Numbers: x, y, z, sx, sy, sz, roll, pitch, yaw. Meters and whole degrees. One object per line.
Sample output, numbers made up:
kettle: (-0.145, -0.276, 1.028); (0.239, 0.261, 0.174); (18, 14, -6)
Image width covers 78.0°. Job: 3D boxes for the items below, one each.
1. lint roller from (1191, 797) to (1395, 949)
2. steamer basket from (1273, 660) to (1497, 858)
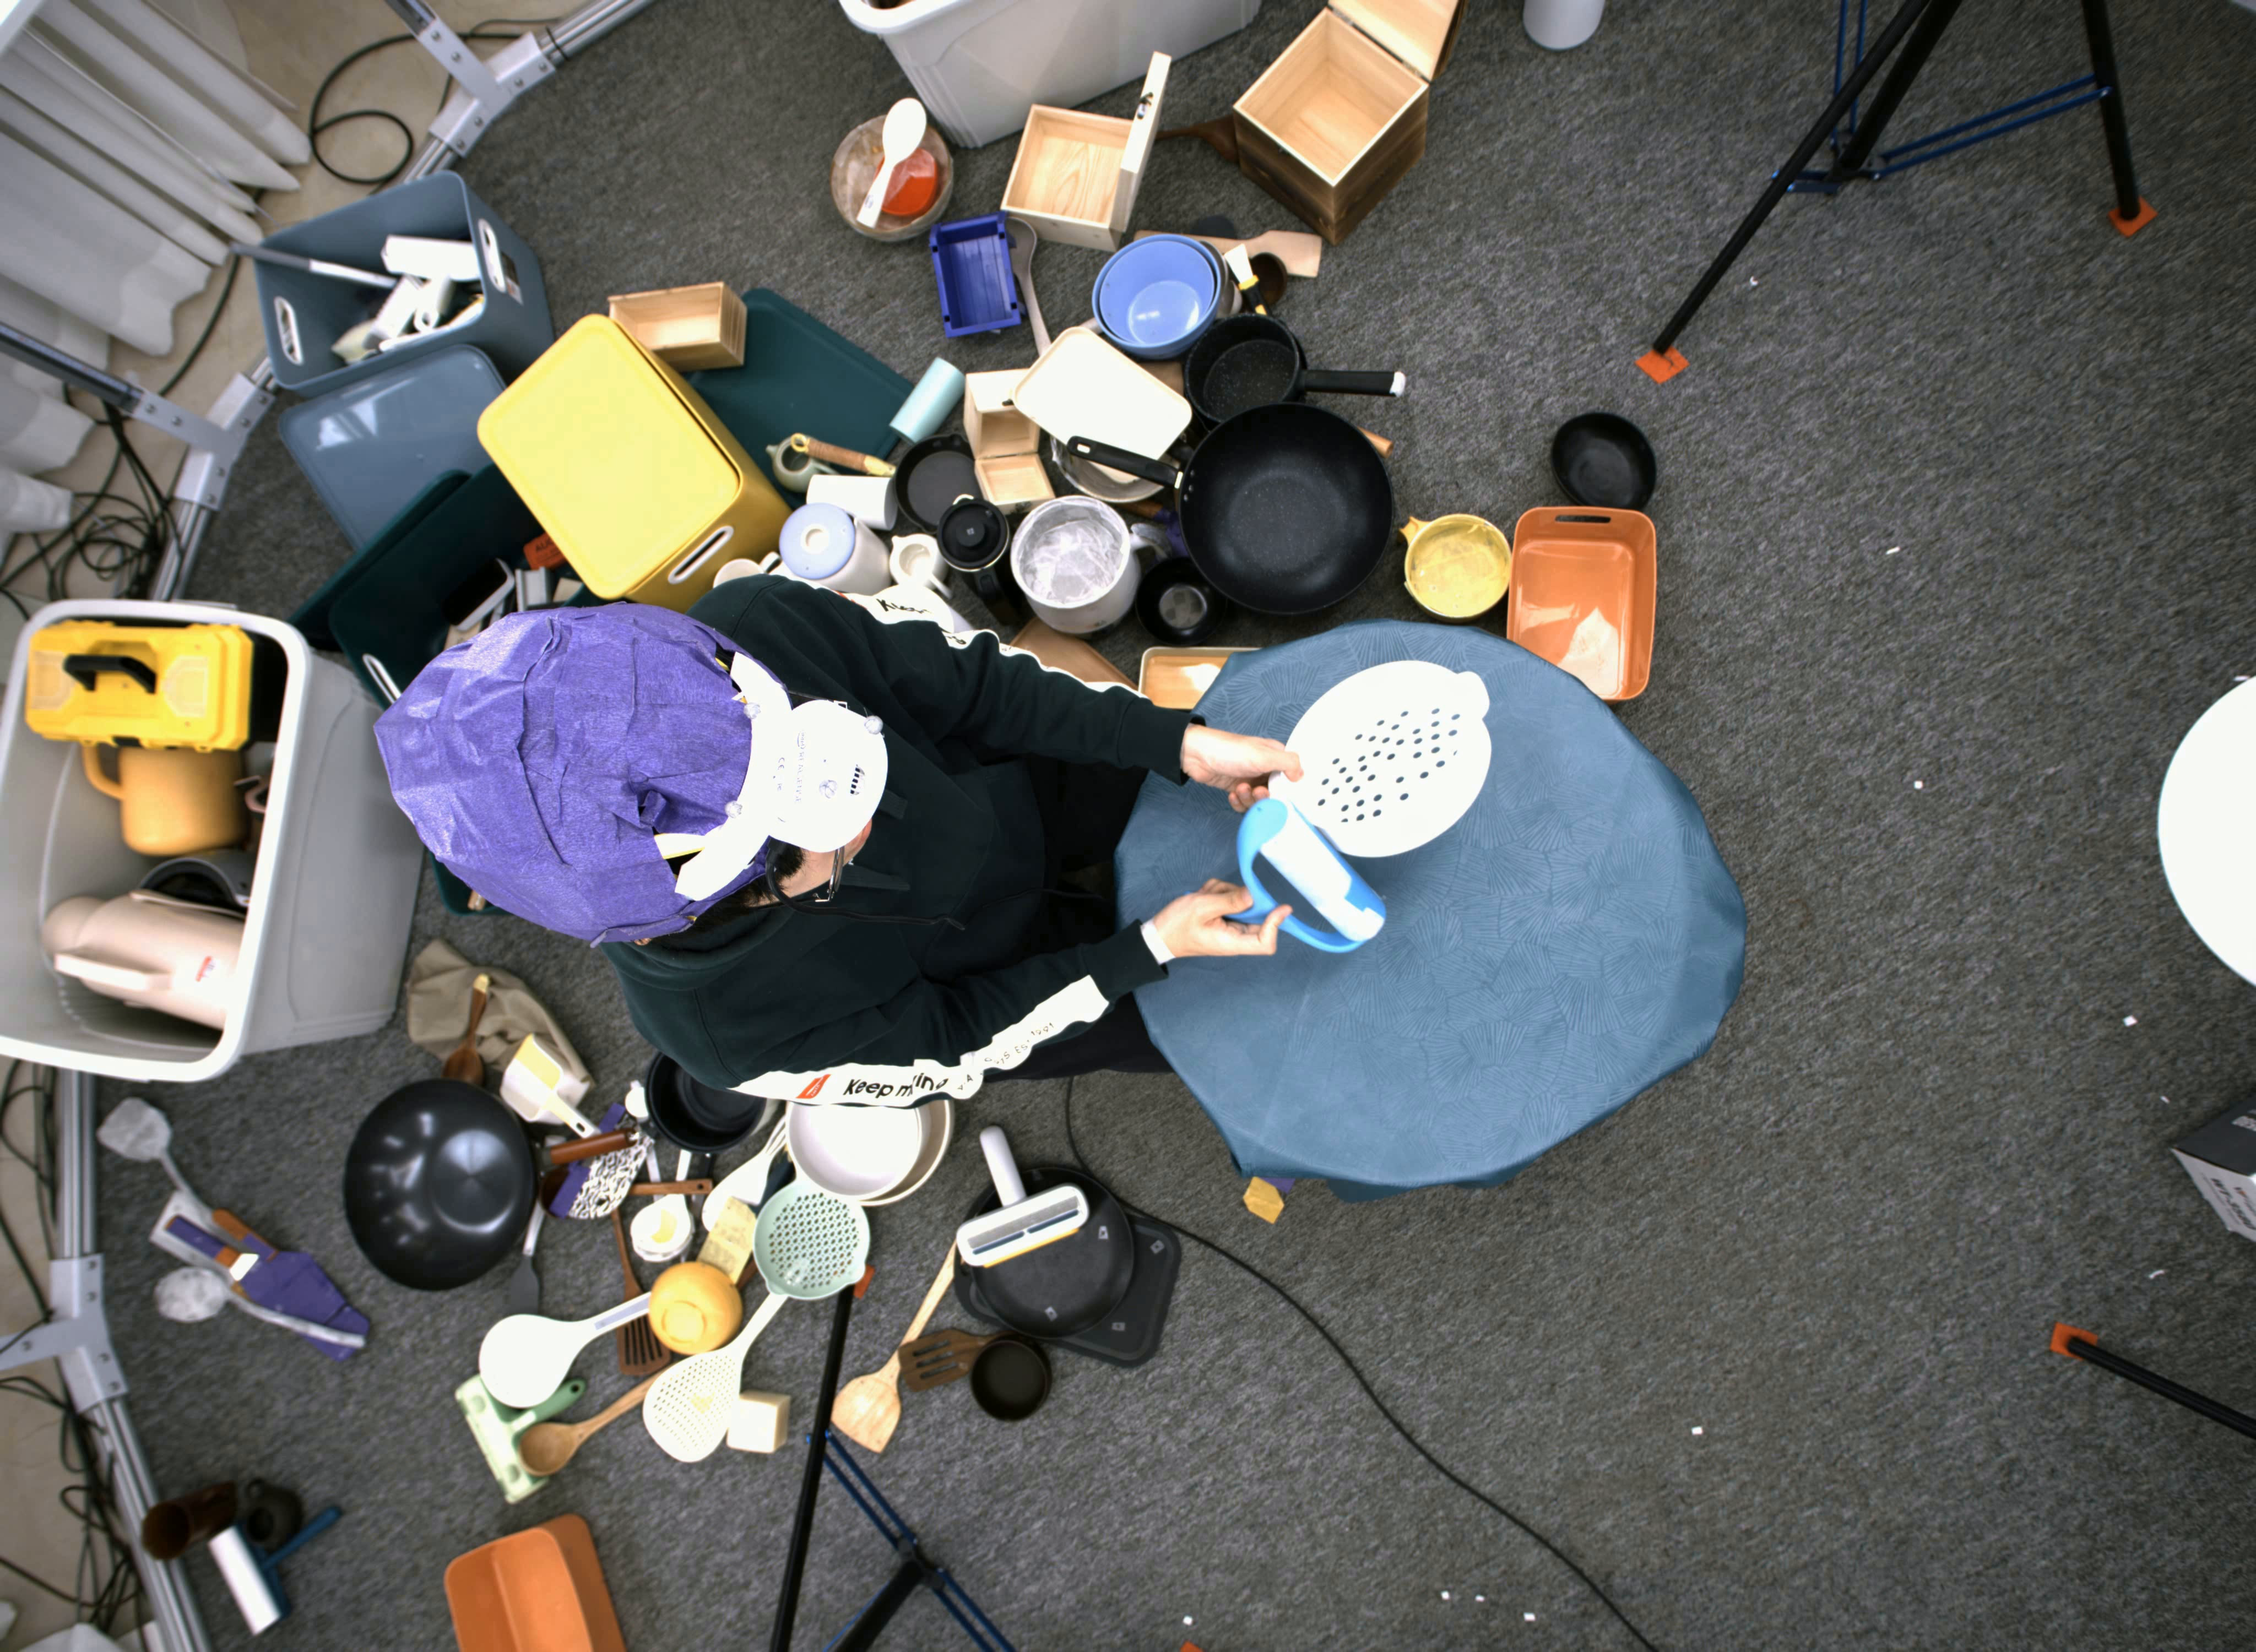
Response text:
lint roller: (0.140, 0.063, 1.352); (0.183, 0.231, 0.066); (-23, 49, 31)
steamer basket: (0.253, -0.064, 1.321); (0.234, 0.070, 0.196); (-28, 41, 22)
